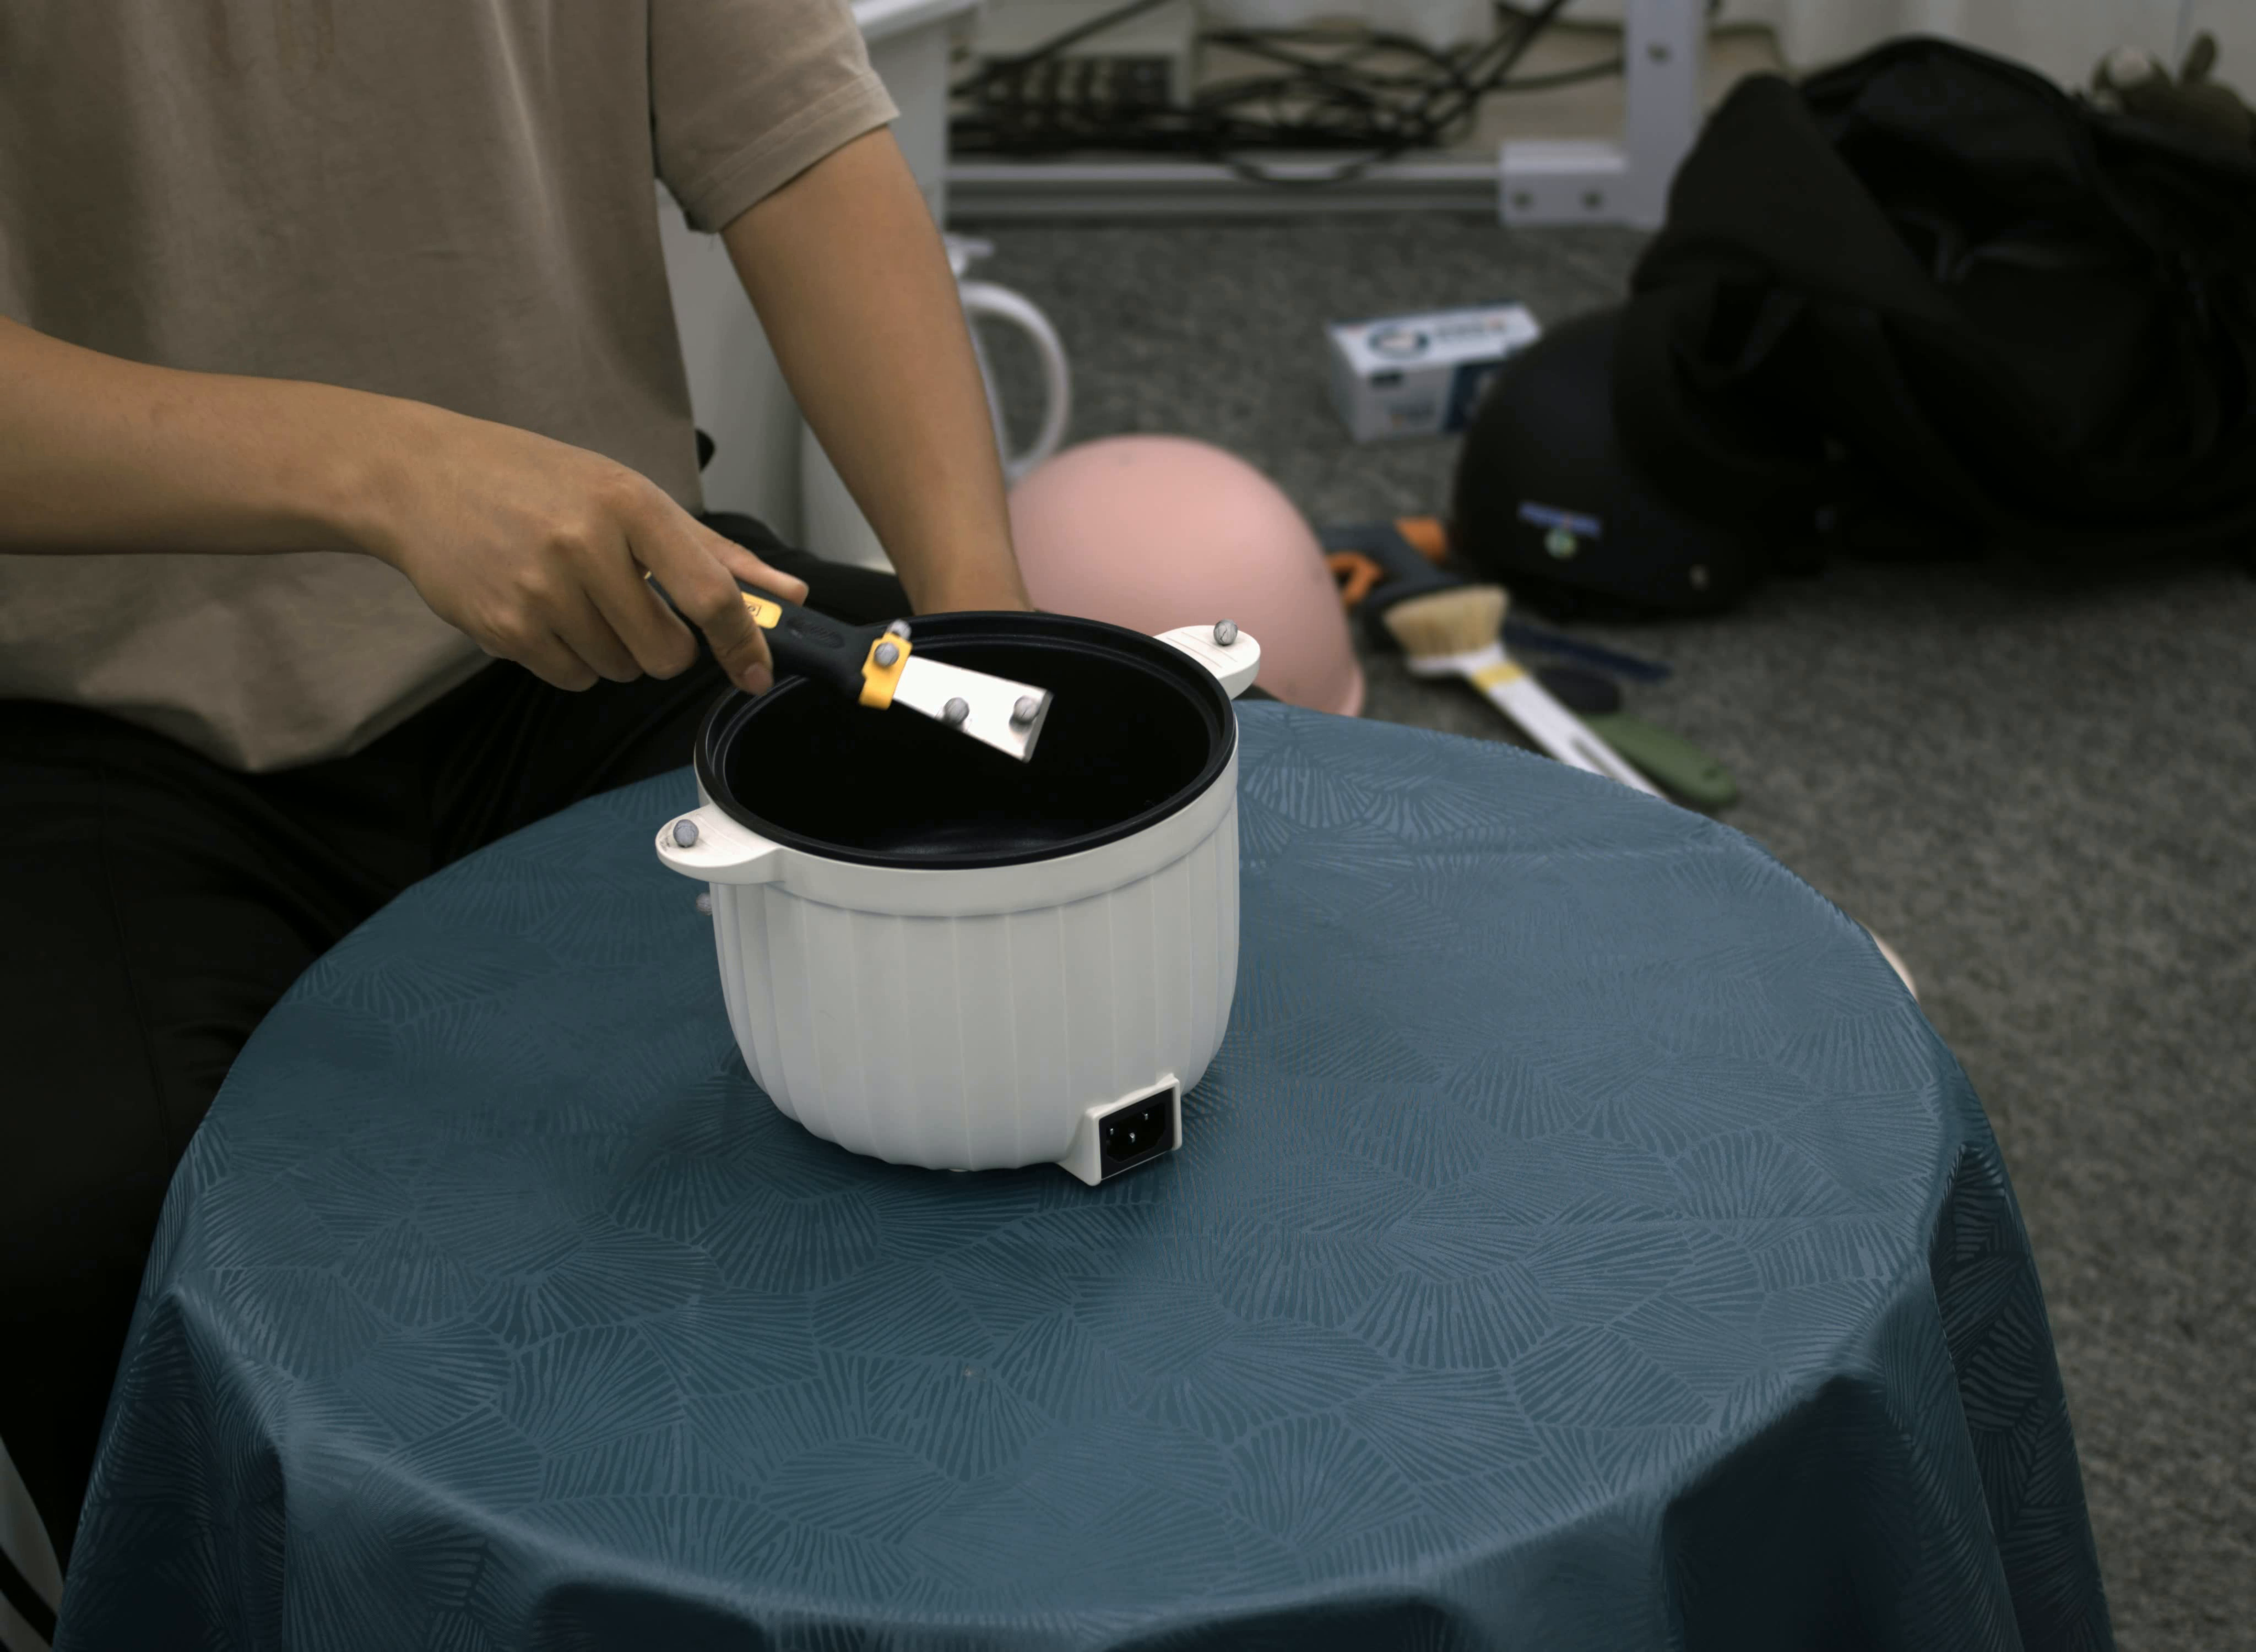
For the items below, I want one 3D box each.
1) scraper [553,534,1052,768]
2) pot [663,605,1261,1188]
[{"bbox_3d":[-0.109,-0.059,1.864,0.170,0.014,0.039,19,47,-4],"label":"scraper"},{"bbox_3d":[-0.055,0.025,1.903,0.242,0.141,0.191,-21,36,-33],"label":"pot"}]
